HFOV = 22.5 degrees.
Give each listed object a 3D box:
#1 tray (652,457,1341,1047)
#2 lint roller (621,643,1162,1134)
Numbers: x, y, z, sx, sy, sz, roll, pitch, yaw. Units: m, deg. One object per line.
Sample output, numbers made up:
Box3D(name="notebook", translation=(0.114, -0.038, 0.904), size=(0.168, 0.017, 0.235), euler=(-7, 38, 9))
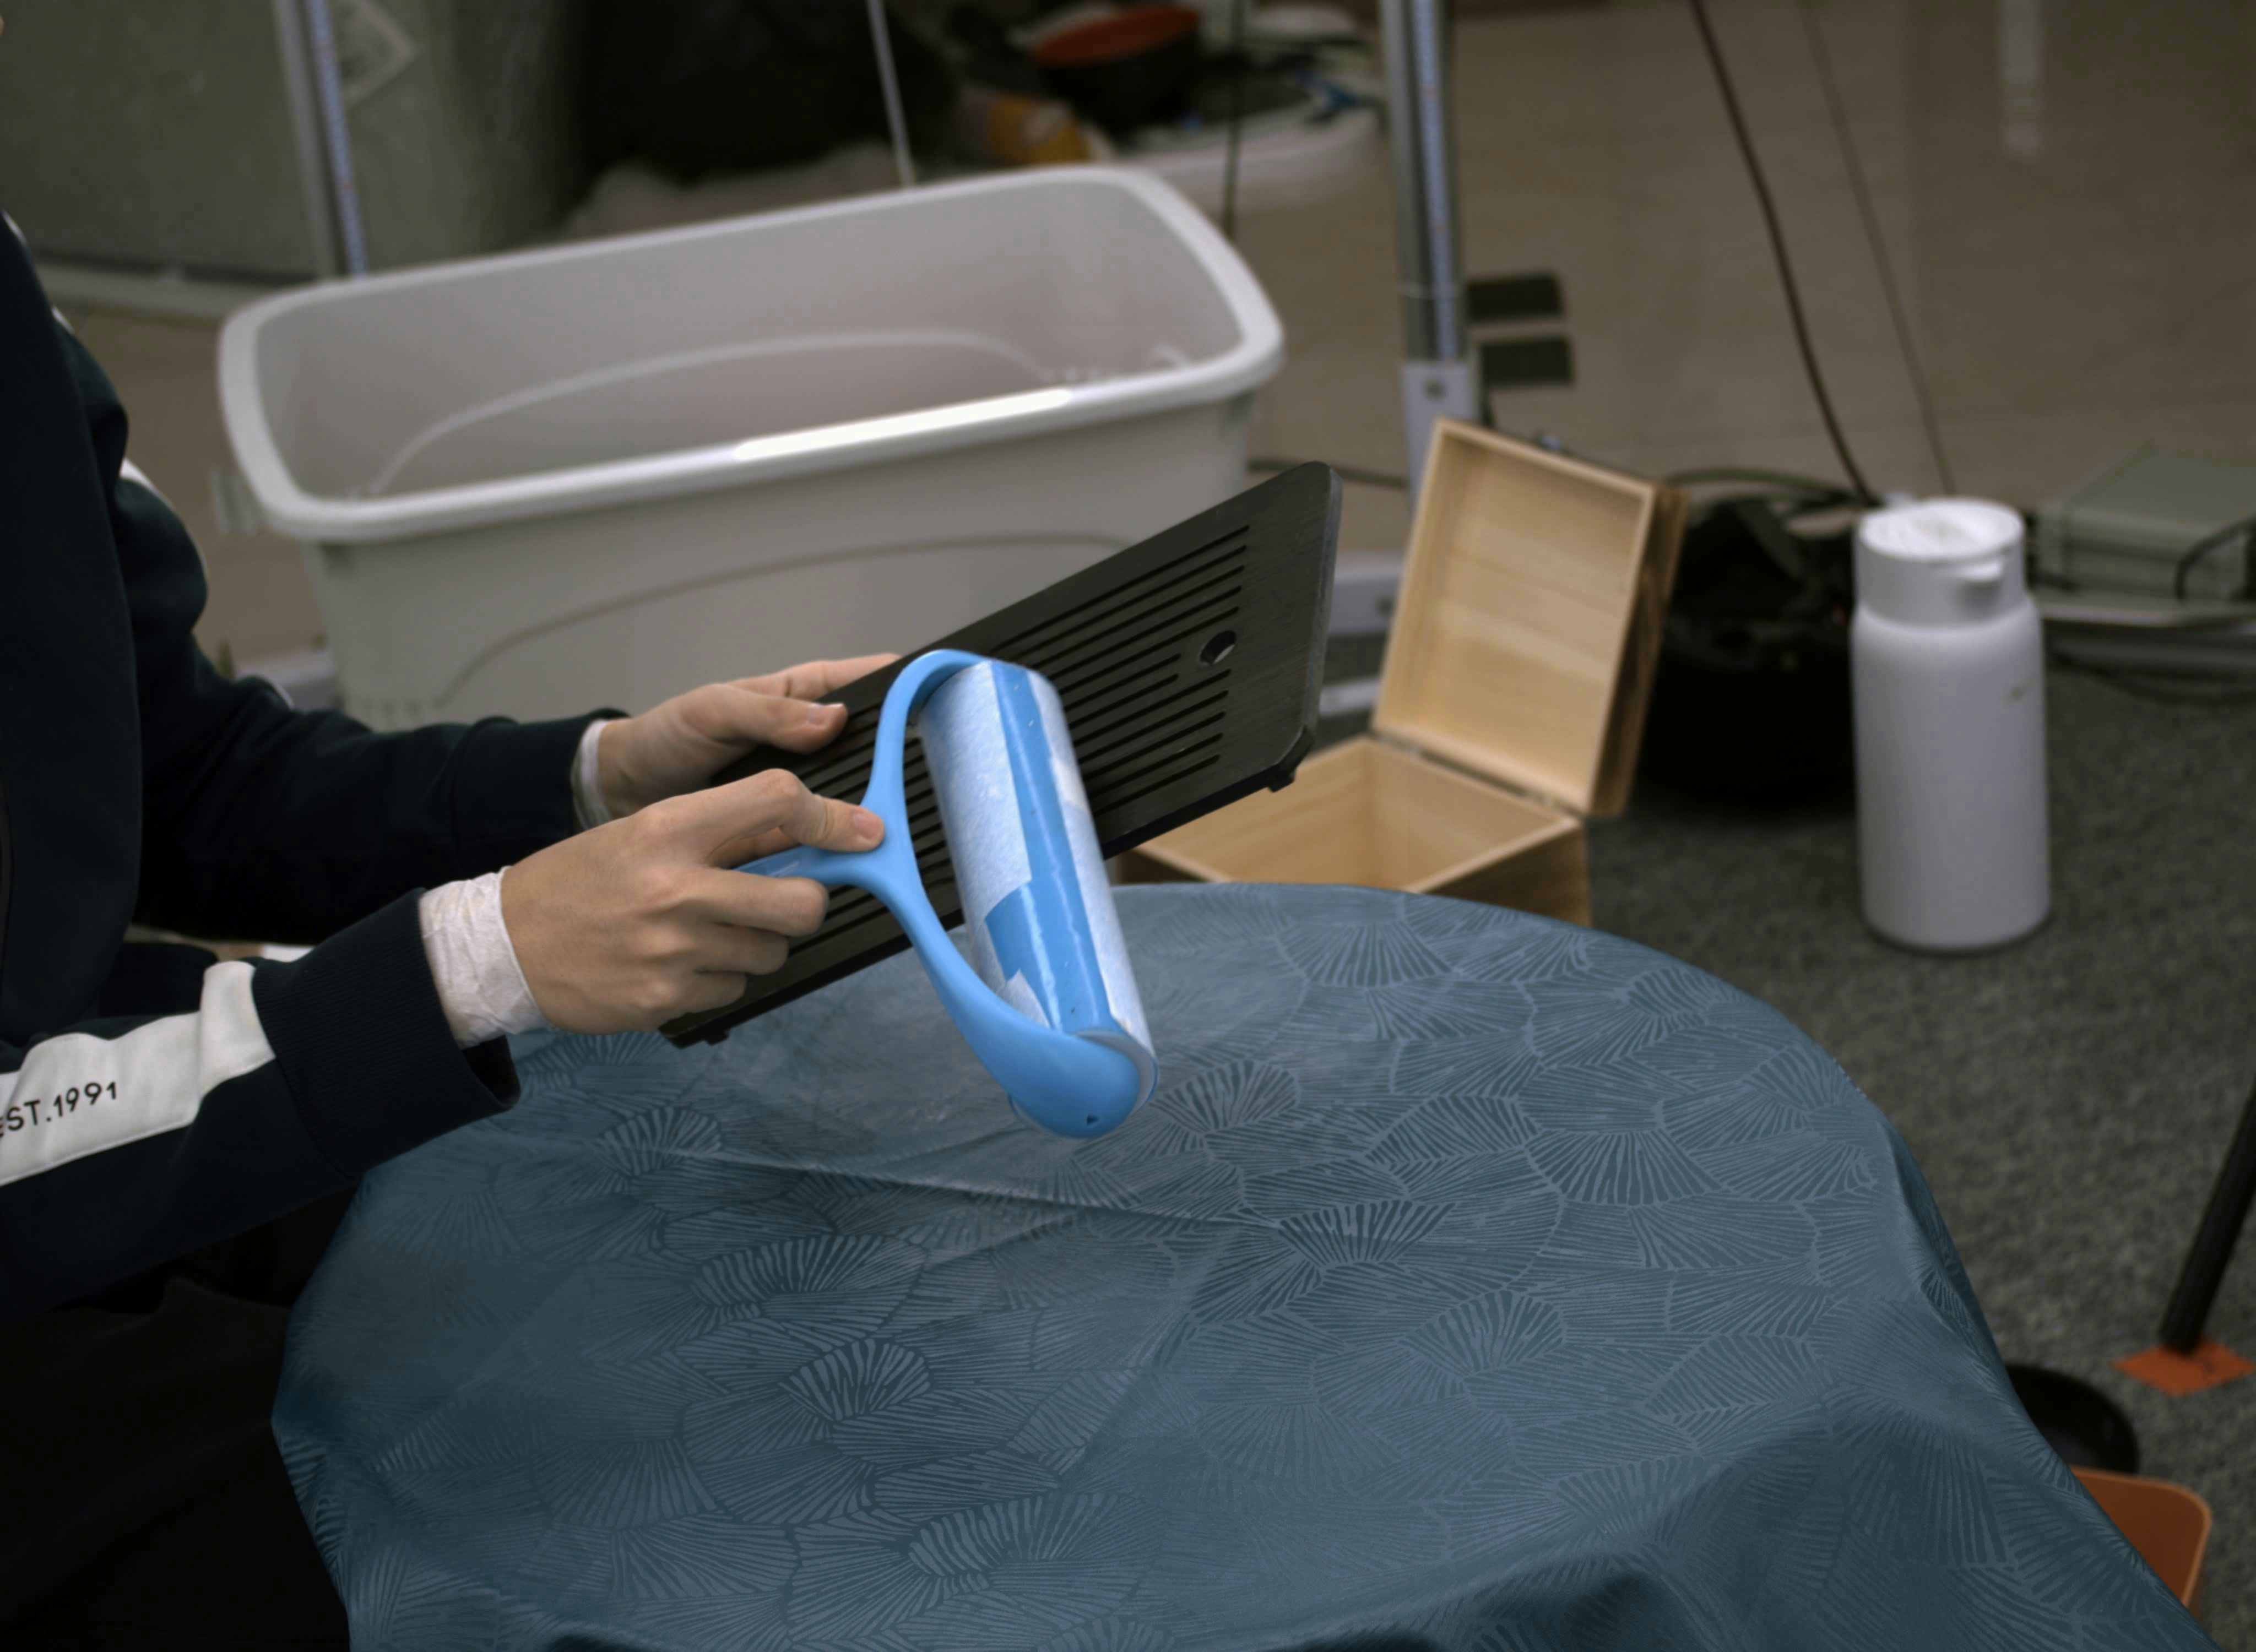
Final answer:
Box3D(name="tray", translation=(-0.049, -0.025, 2.153), size=(0.307, 0.019, 0.167), euler=(-25, 36, 29))
Box3D(name="lint roller", translation=(-0.090, 0.027, 2.013), size=(0.180, 0.069, 0.225), euler=(-7, 47, -12))
